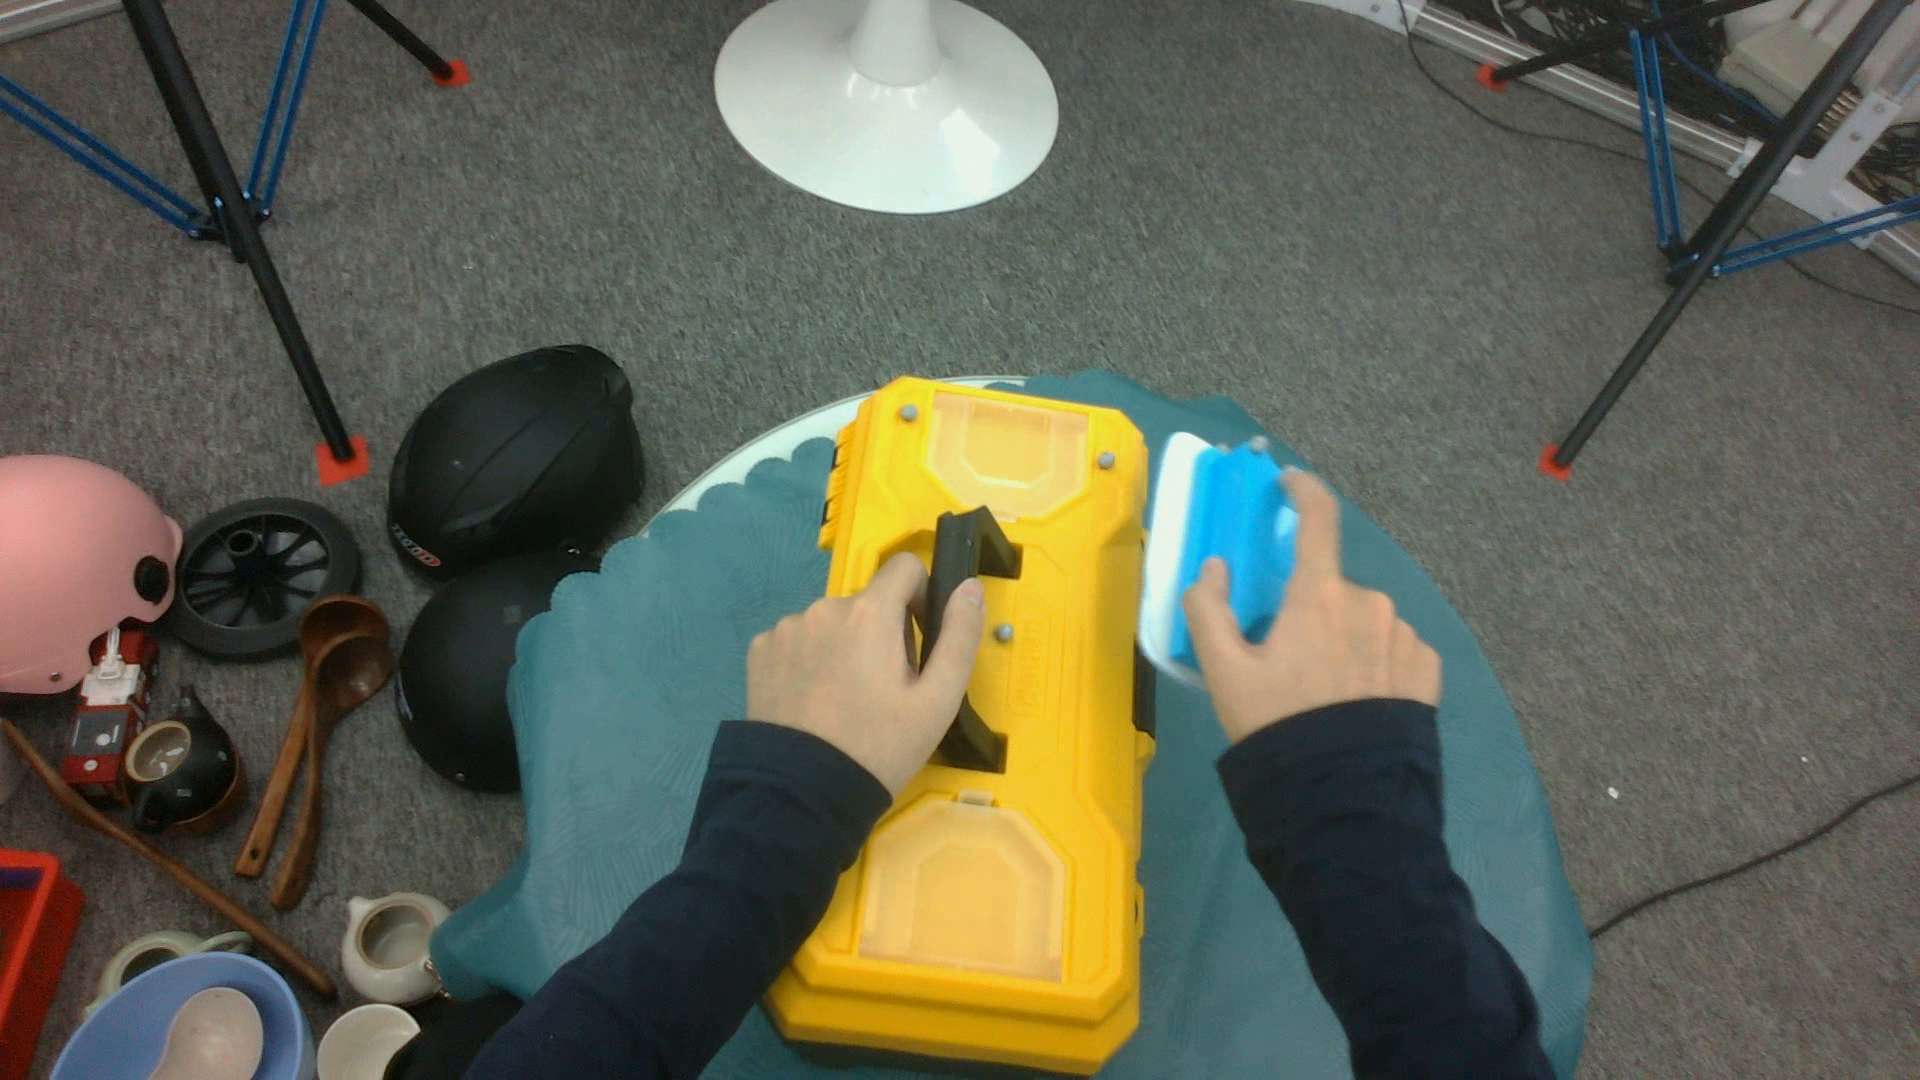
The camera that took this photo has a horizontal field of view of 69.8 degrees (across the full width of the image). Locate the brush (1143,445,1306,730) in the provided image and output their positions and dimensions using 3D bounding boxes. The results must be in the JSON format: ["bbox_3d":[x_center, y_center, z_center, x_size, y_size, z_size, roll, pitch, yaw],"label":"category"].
[{"bbox_3d":[0.137,0.015,0.654,0.084,0.055,0.144,24,51,-15],"label":"brush"}]

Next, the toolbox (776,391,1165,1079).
[{"bbox_3d":[0.008,0.103,0.729,0.181,0.172,0.353,7,55,-3],"label":"toolbox"}]
